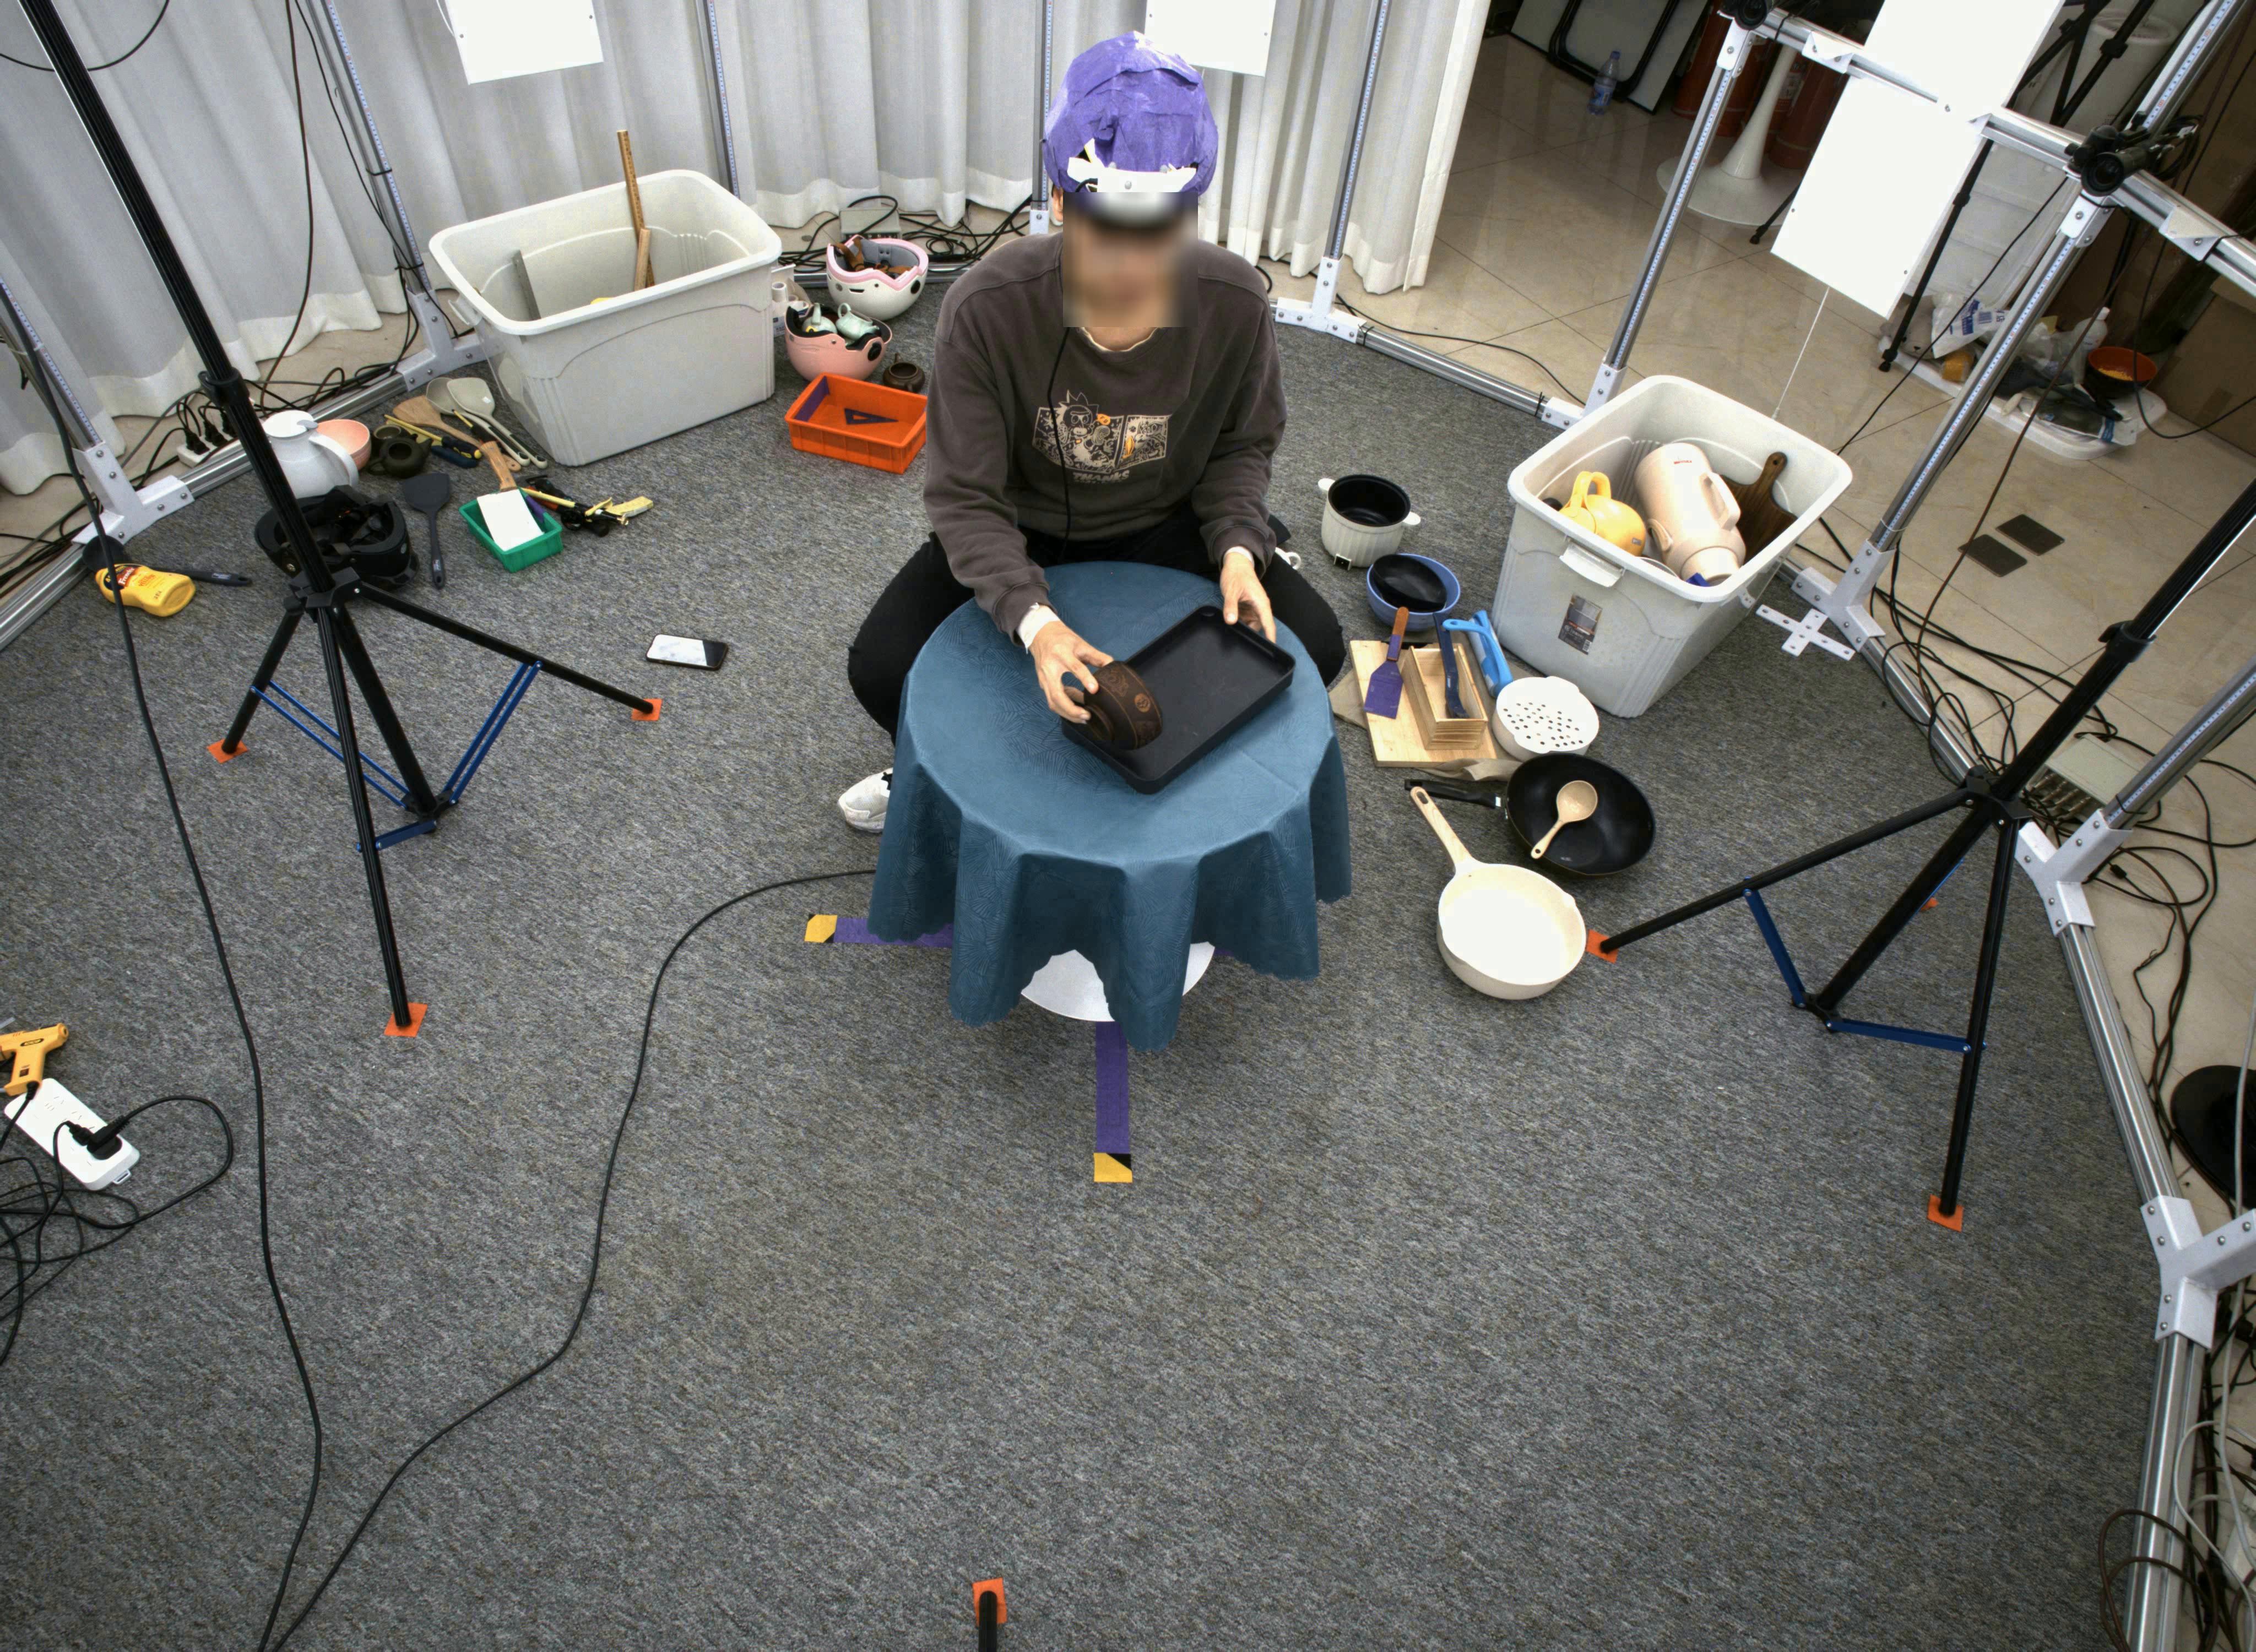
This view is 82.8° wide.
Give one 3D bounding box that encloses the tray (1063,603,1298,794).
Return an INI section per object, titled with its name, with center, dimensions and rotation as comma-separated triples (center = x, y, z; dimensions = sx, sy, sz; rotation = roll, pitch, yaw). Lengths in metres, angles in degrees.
[tray]
center = 0.076, -0.185, 1.797
dimensions = 0.187, 0.036, 0.321
rotation = 35, 60, 26

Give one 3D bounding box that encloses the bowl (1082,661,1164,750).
[bowl]
center = -0.016, -0.149, 1.671
dimensions = 0.070, 0.115, 0.120
rotation = -36, 60, -19
